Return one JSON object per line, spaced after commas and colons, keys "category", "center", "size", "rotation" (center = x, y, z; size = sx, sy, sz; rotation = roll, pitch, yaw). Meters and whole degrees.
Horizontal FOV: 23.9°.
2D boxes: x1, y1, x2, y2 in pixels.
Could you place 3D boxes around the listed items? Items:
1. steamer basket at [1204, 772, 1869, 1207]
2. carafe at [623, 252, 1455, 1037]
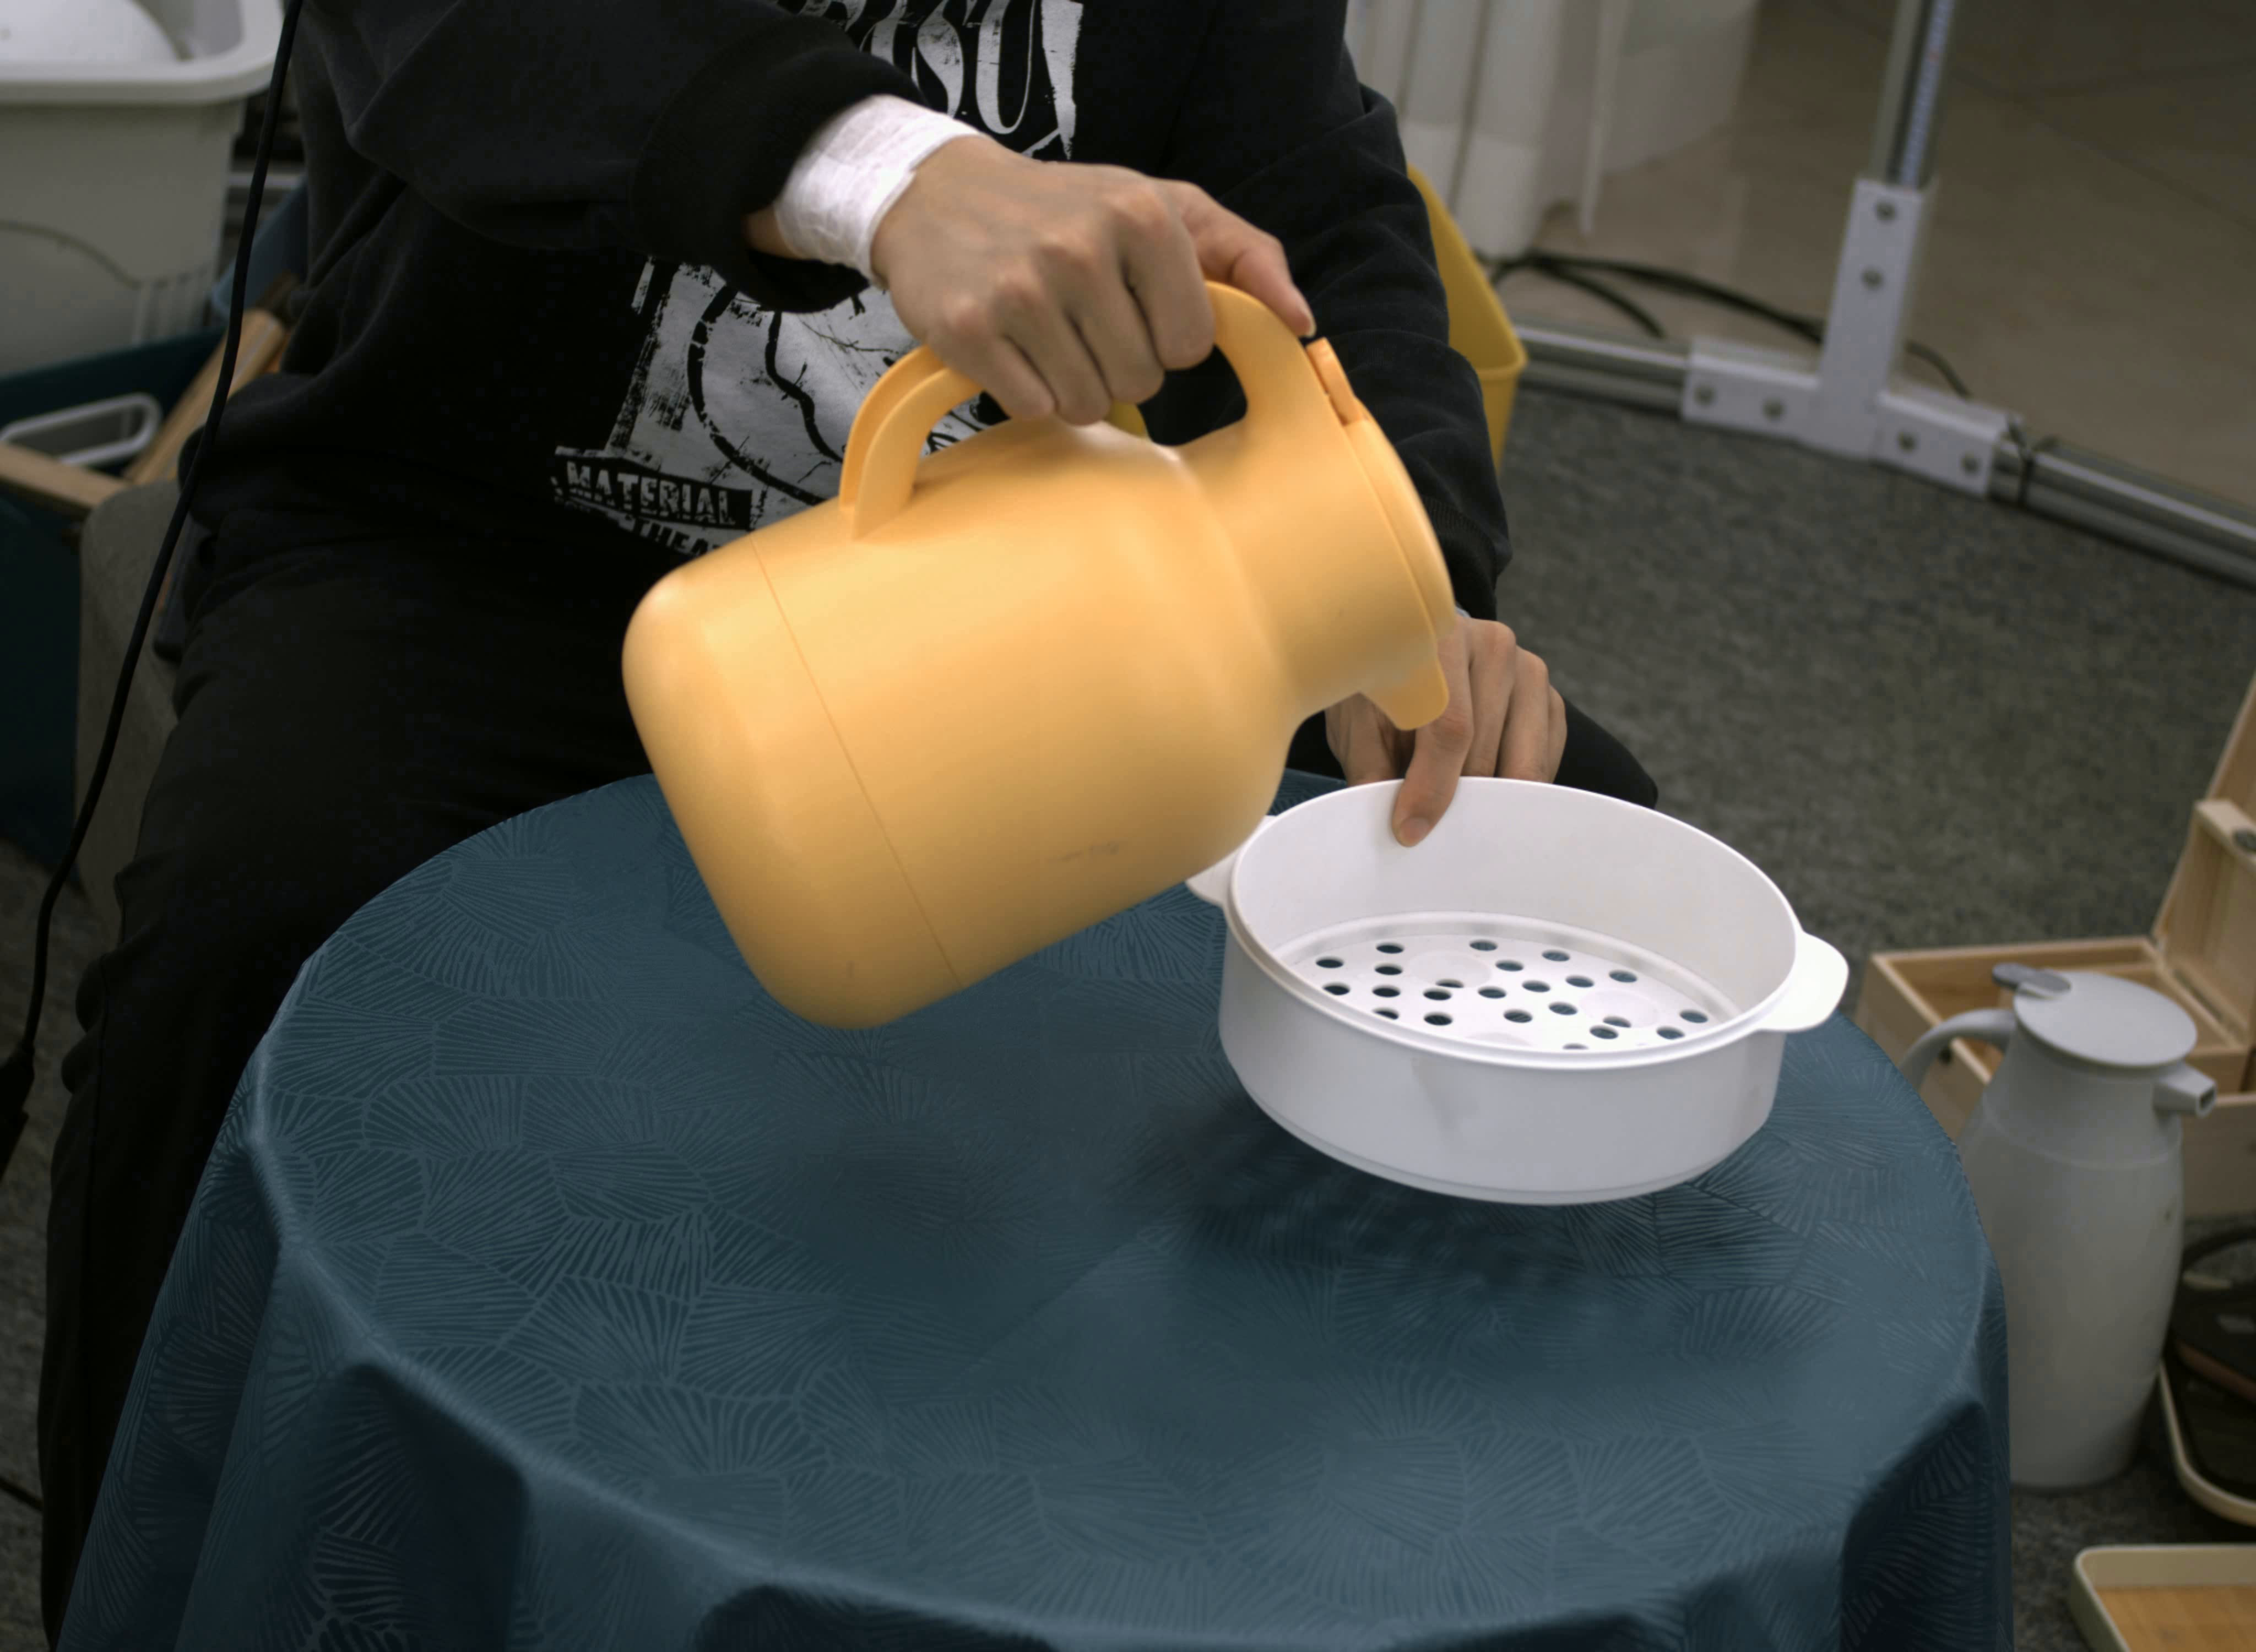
{"category": "steamer basket", "center": [0.135, 0.056, 1.822], "size": [0.231, 0.069, 0.202], "rotation": [15, 28, 13]}
{"category": "carafe", "center": [-0.032, -0.065, 1.717], "size": [0.260, 0.201, 0.165], "rotation": [-26, 27, -2]}
